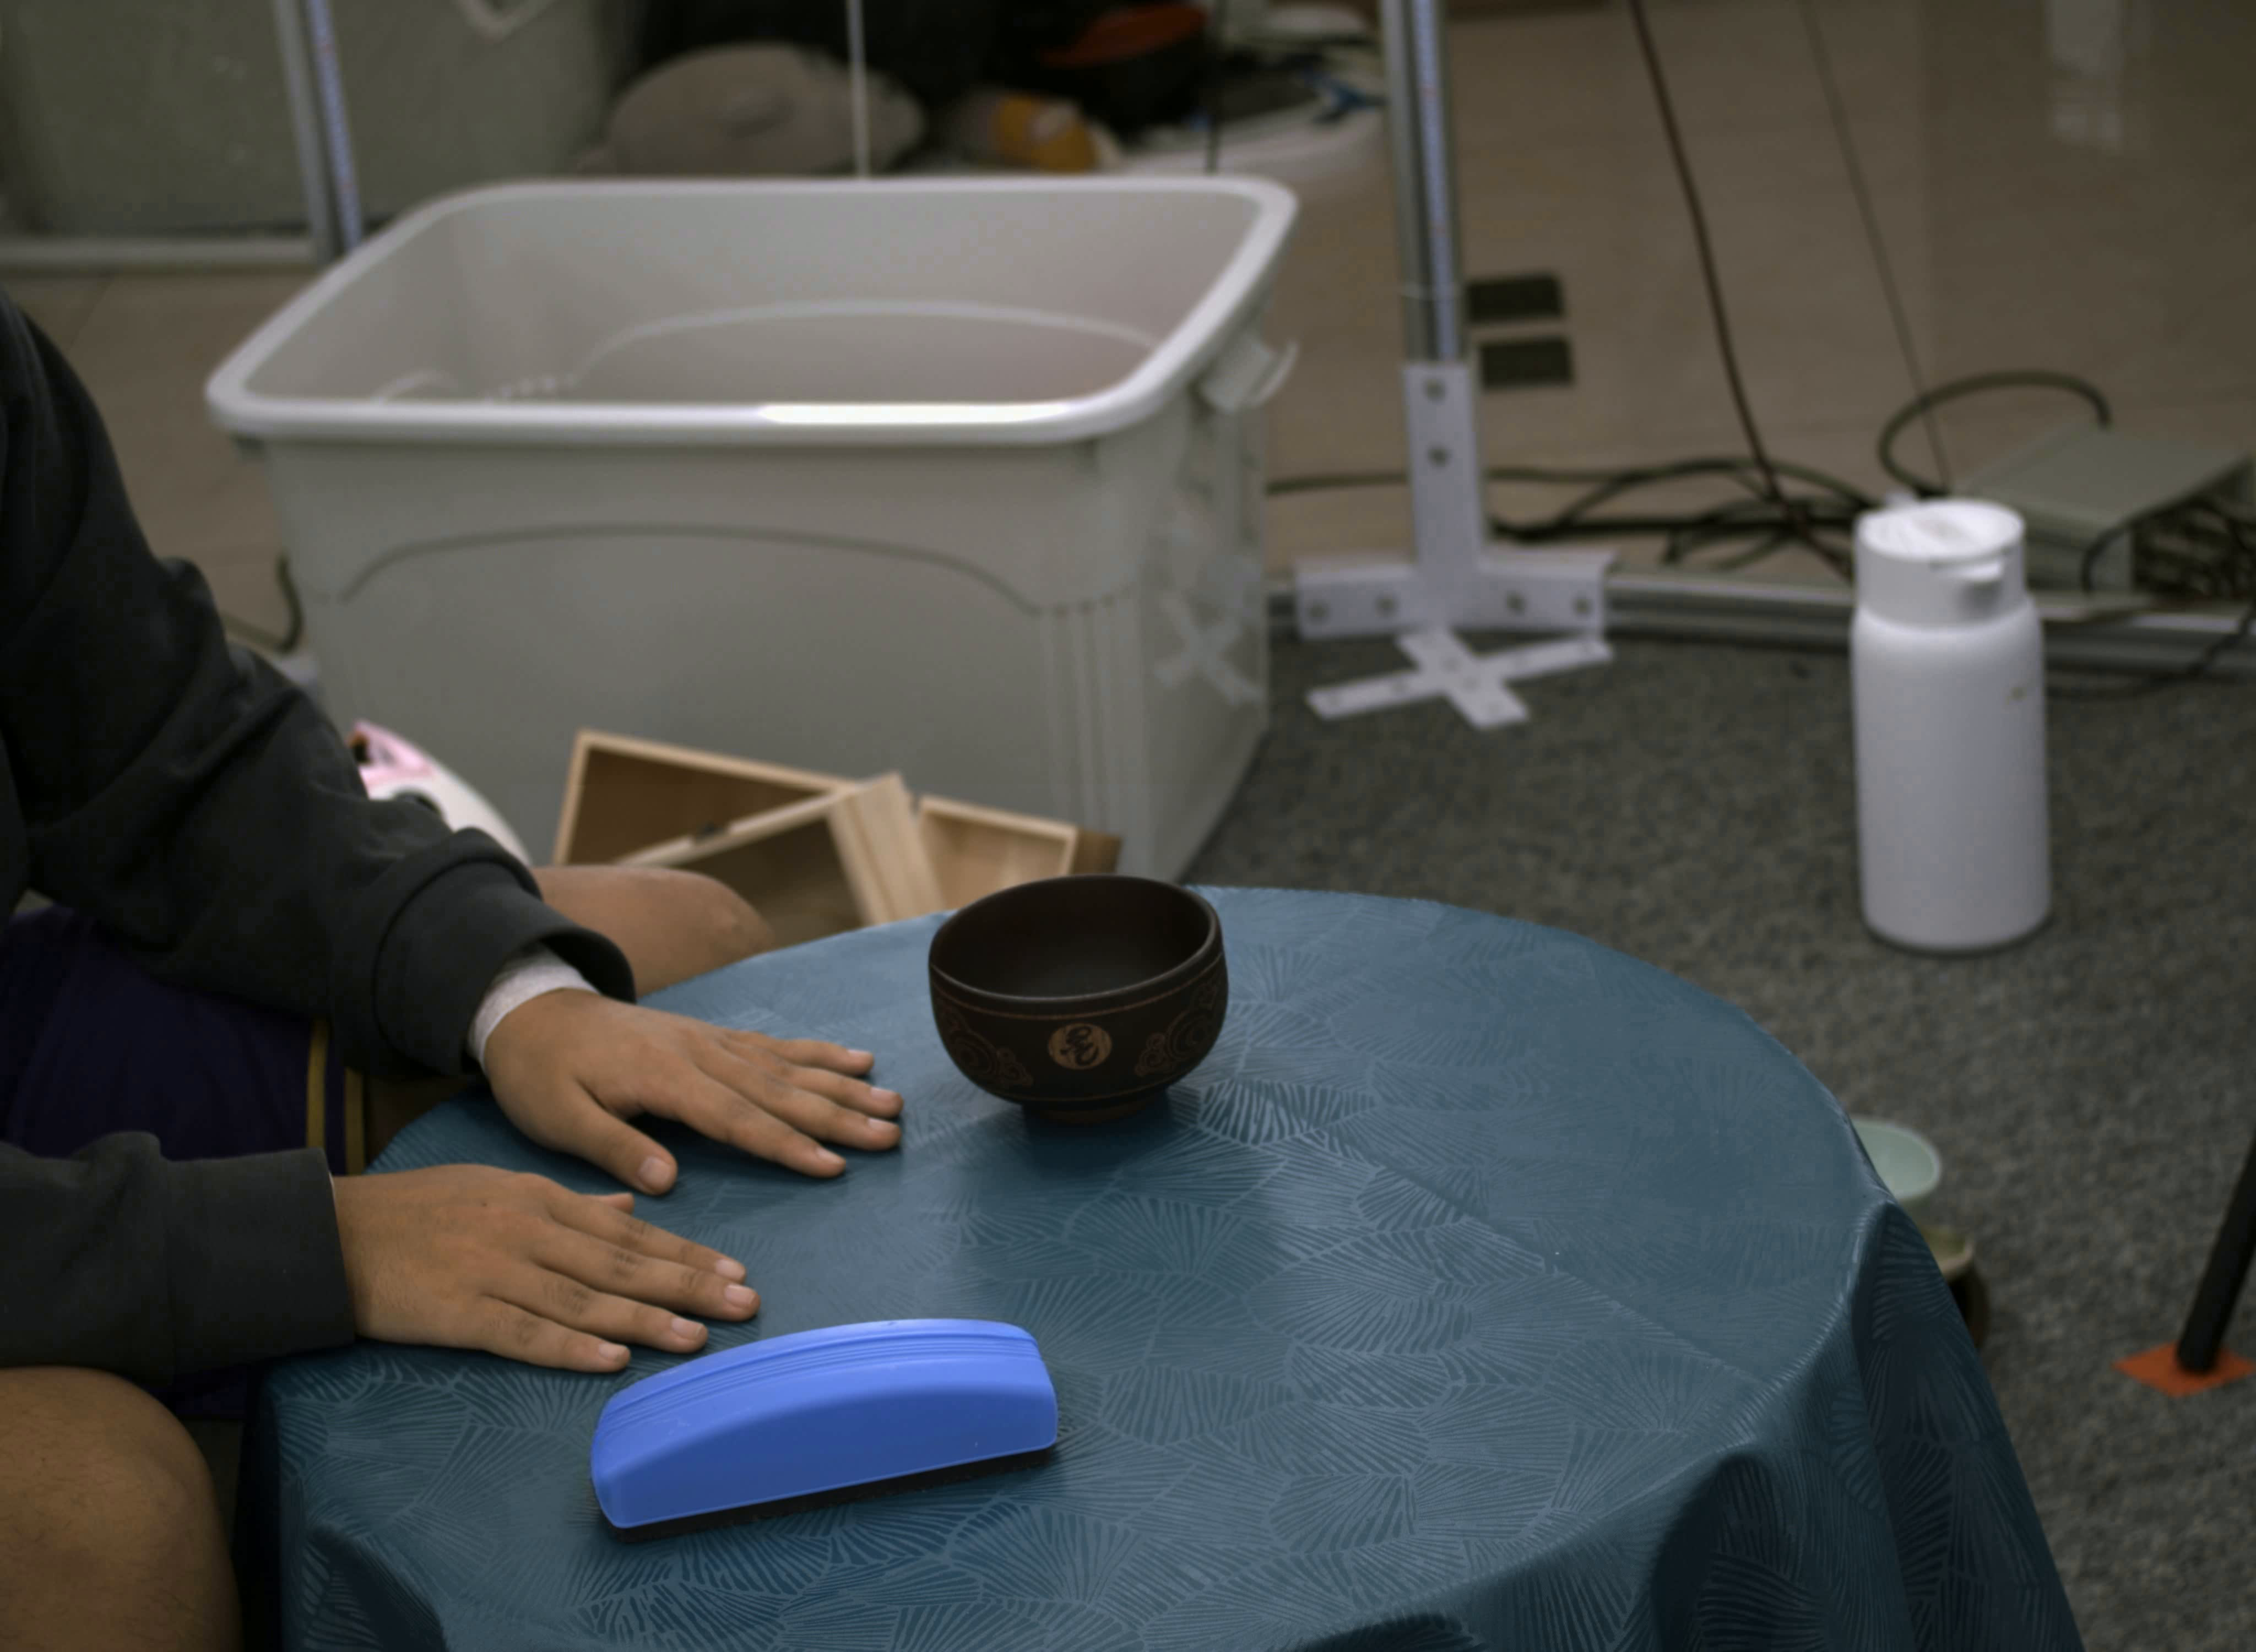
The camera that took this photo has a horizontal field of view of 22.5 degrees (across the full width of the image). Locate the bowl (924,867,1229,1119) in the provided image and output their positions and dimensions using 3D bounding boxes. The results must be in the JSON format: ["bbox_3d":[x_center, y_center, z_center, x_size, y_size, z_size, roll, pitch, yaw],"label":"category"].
[{"bbox_3d":[-0.018,0.071,2.209,0.118,0.071,0.116,-6,26,3],"label":"bowl"}]

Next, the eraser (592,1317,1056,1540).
[{"bbox_3d":[-0.107,0.205,1.977,0.162,0.048,0.053,-10,28,-8],"label":"eraser"}]
